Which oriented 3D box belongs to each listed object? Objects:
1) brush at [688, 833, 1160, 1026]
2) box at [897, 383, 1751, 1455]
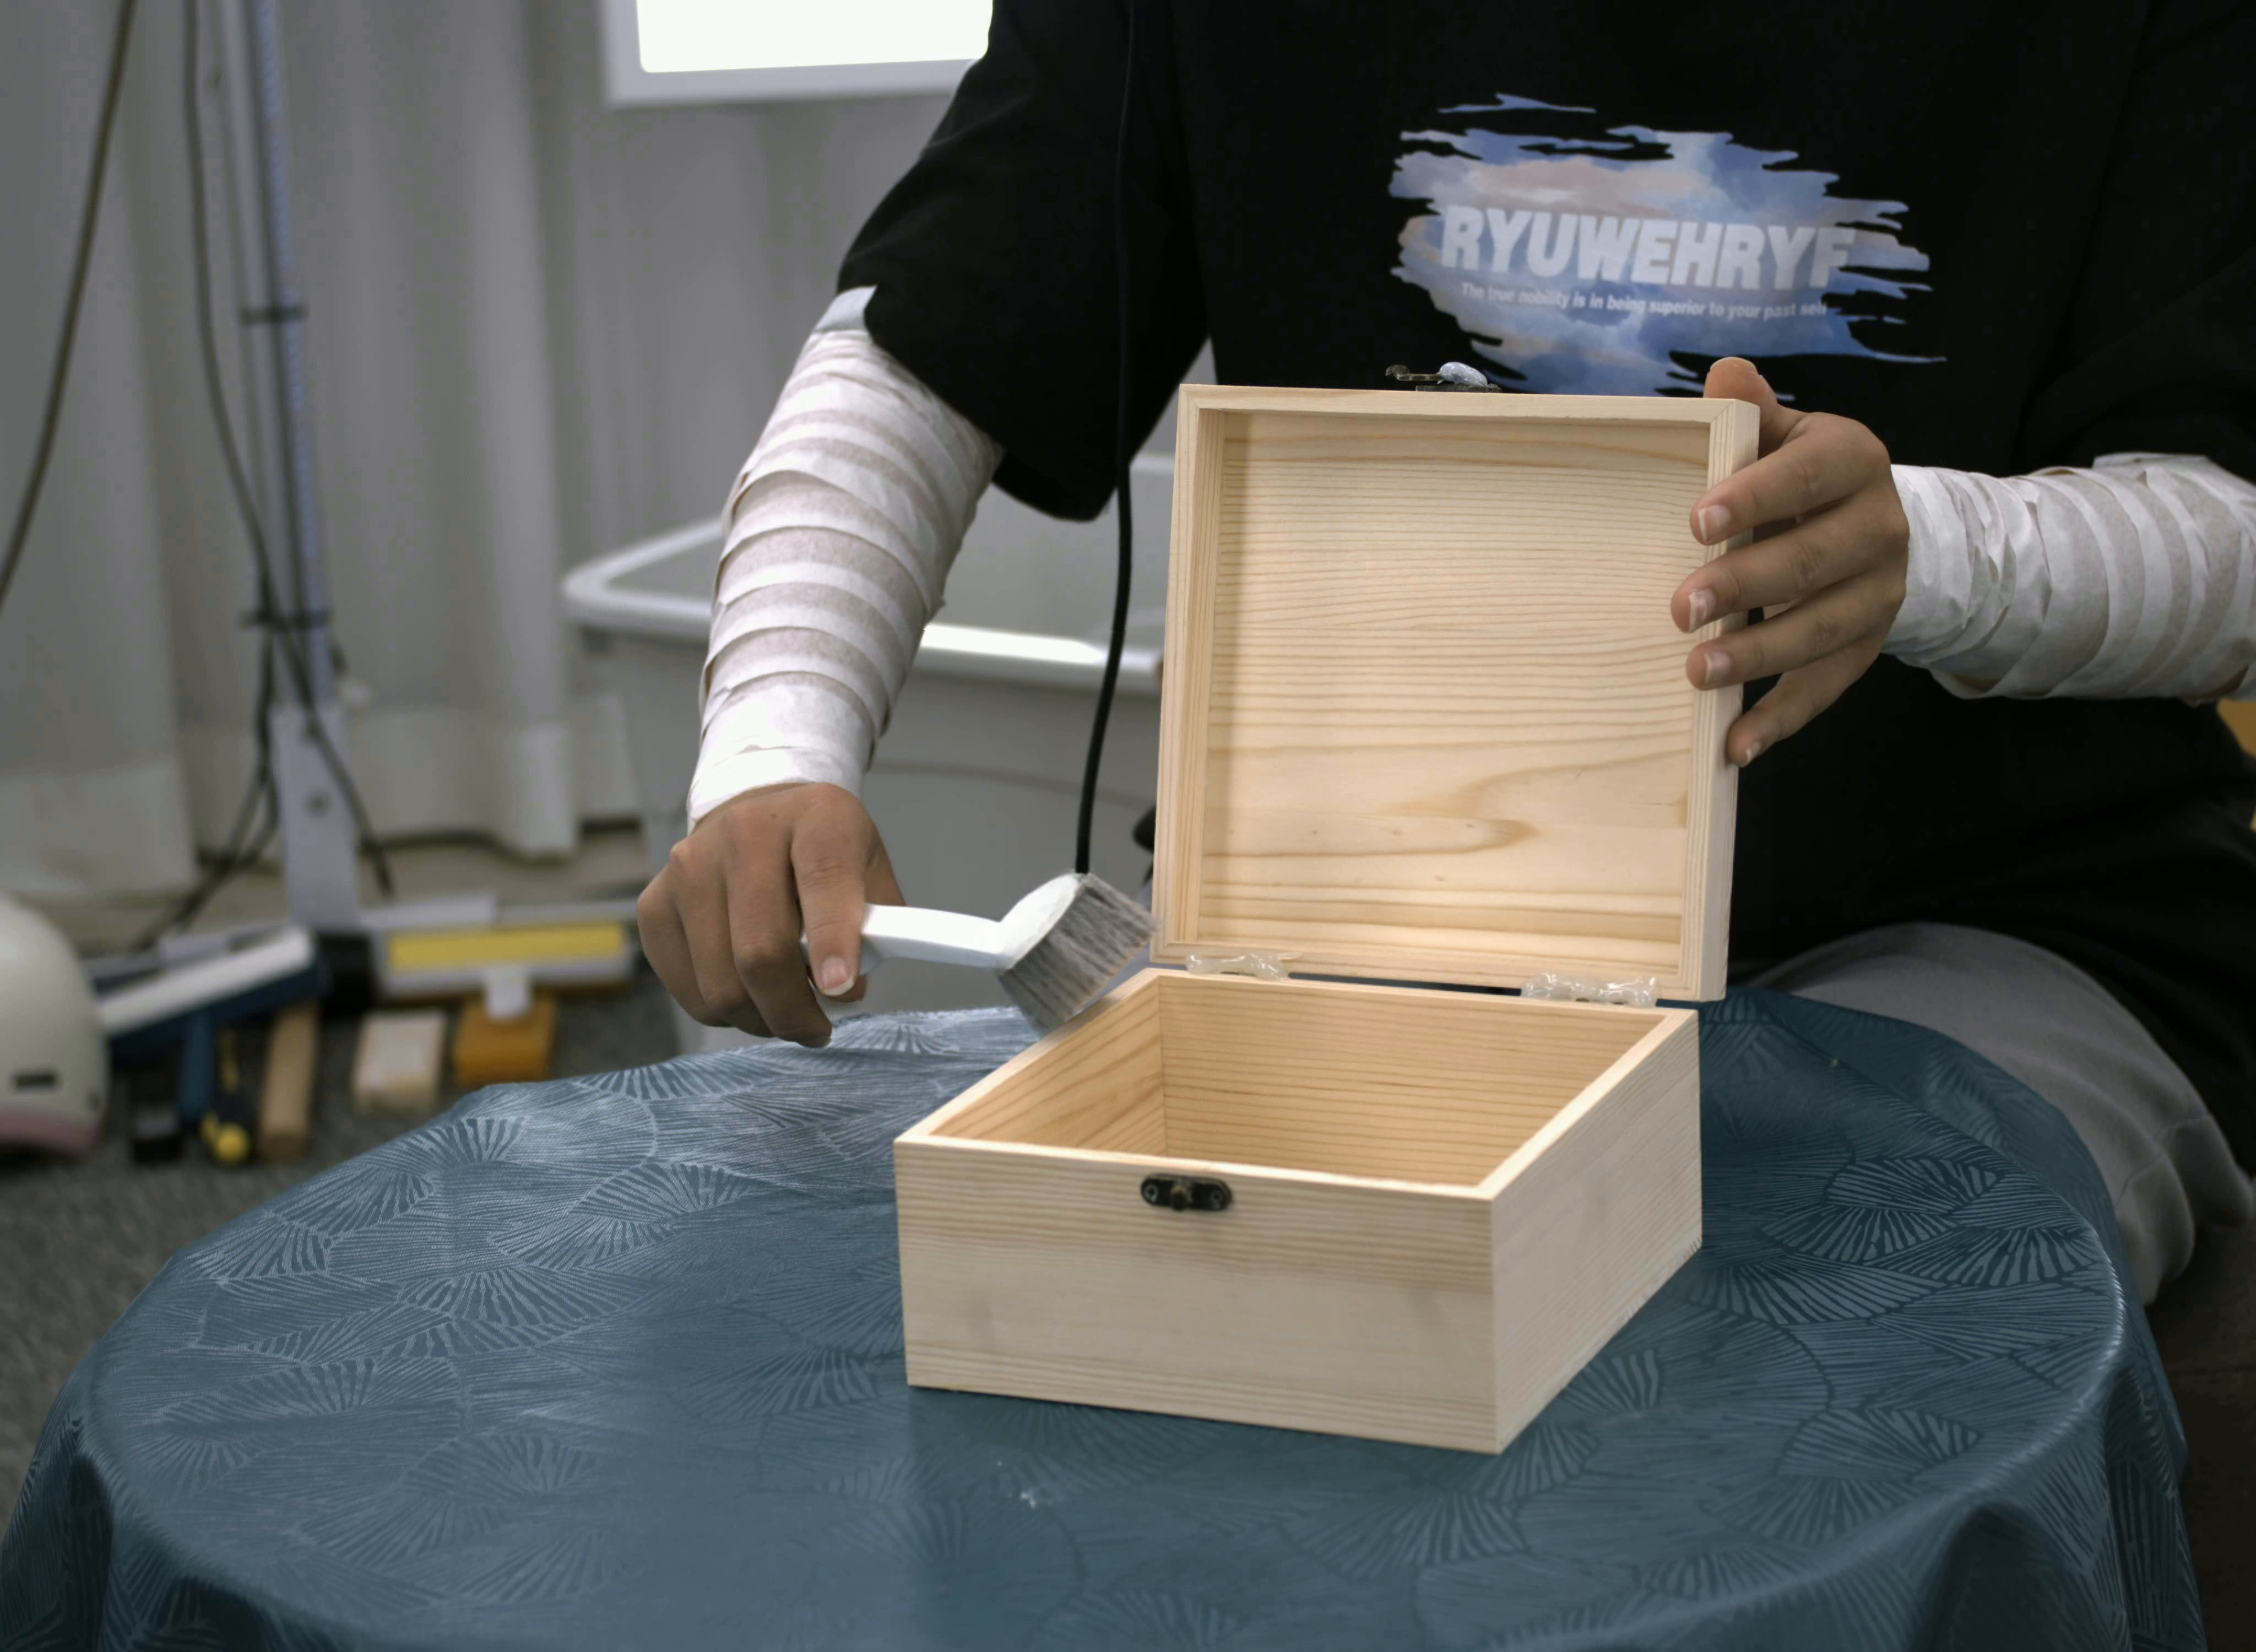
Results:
[{"bbox_3d":[-0.065,0.043,1.710,0.034,0.050,0.243,-46,16,-29],"label":"brush"},{"bbox_3d":[0.062,0.015,1.597,0.182,0.252,0.266,2,14,23],"label":"box"}]
